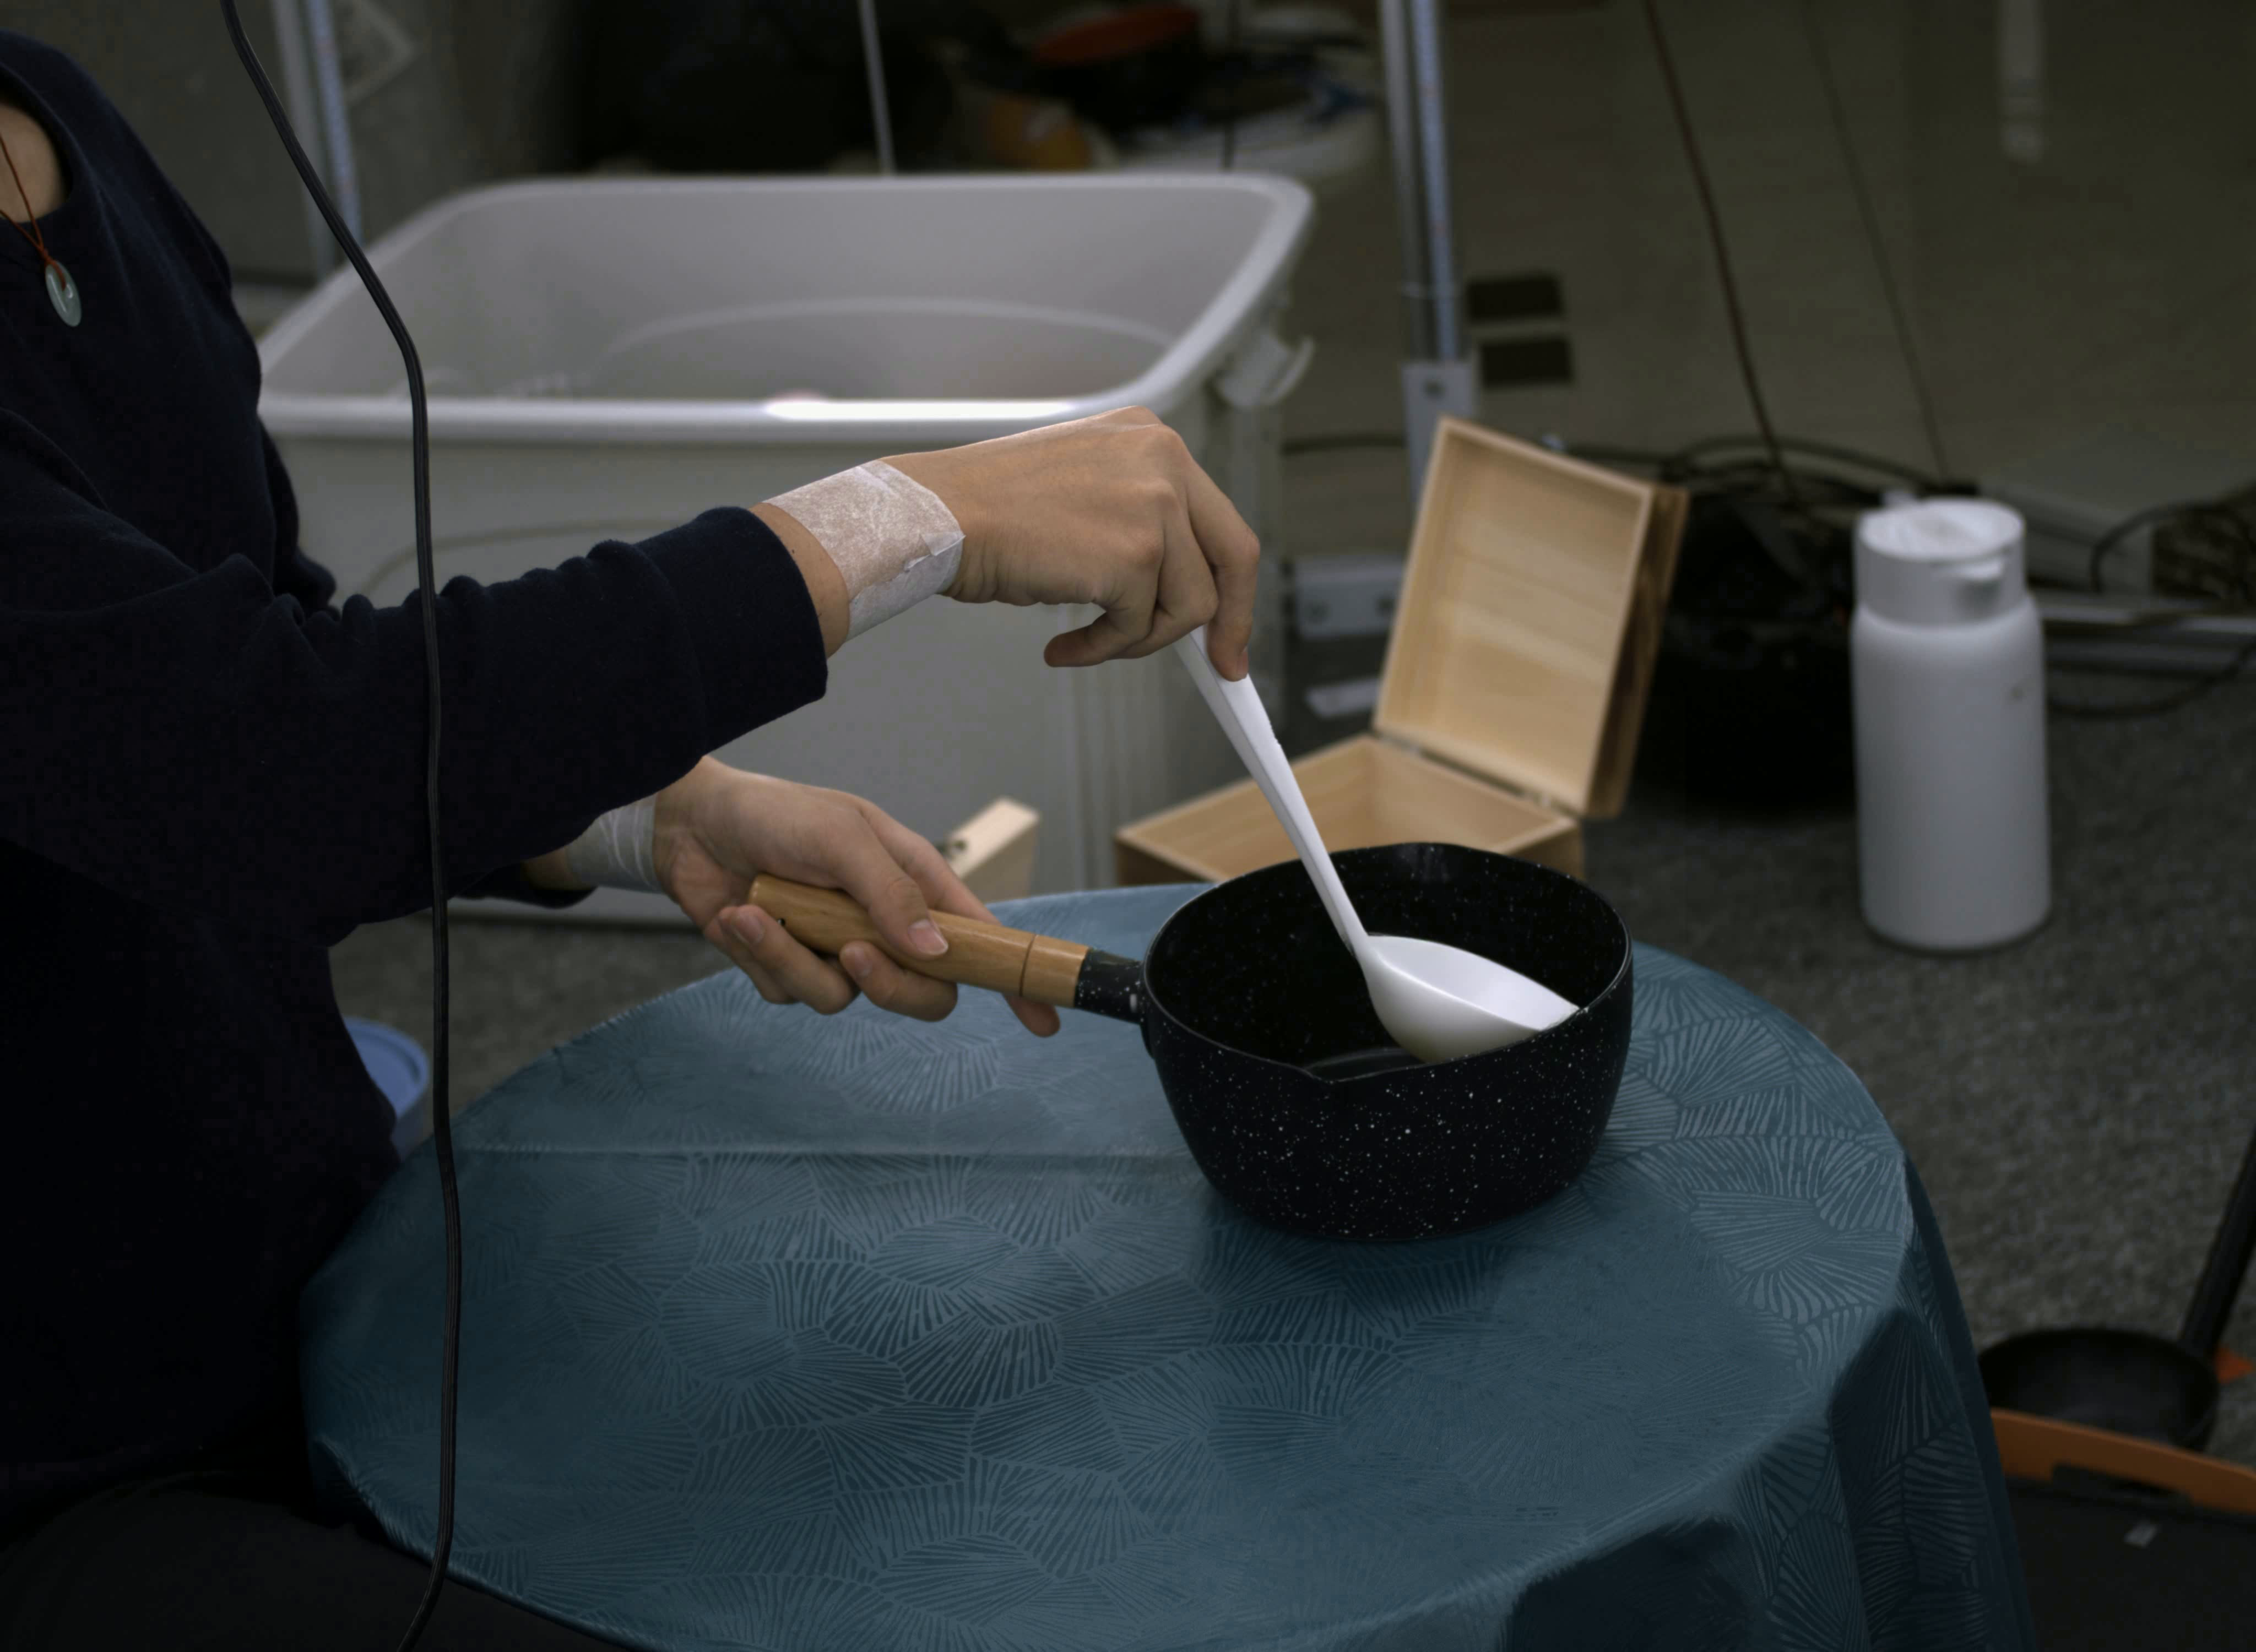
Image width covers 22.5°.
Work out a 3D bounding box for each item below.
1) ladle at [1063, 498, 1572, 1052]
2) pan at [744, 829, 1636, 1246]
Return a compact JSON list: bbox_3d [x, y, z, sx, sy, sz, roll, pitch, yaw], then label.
[{"bbox_3d":[0.077,-0.012,2.057,0.070,0.297,0.089,-33,31,2],"label":"ladle"},{"bbox_3d":[0.021,0.073,2.146,0.342,0.110,0.204,2,28,12],"label":"pan"}]
